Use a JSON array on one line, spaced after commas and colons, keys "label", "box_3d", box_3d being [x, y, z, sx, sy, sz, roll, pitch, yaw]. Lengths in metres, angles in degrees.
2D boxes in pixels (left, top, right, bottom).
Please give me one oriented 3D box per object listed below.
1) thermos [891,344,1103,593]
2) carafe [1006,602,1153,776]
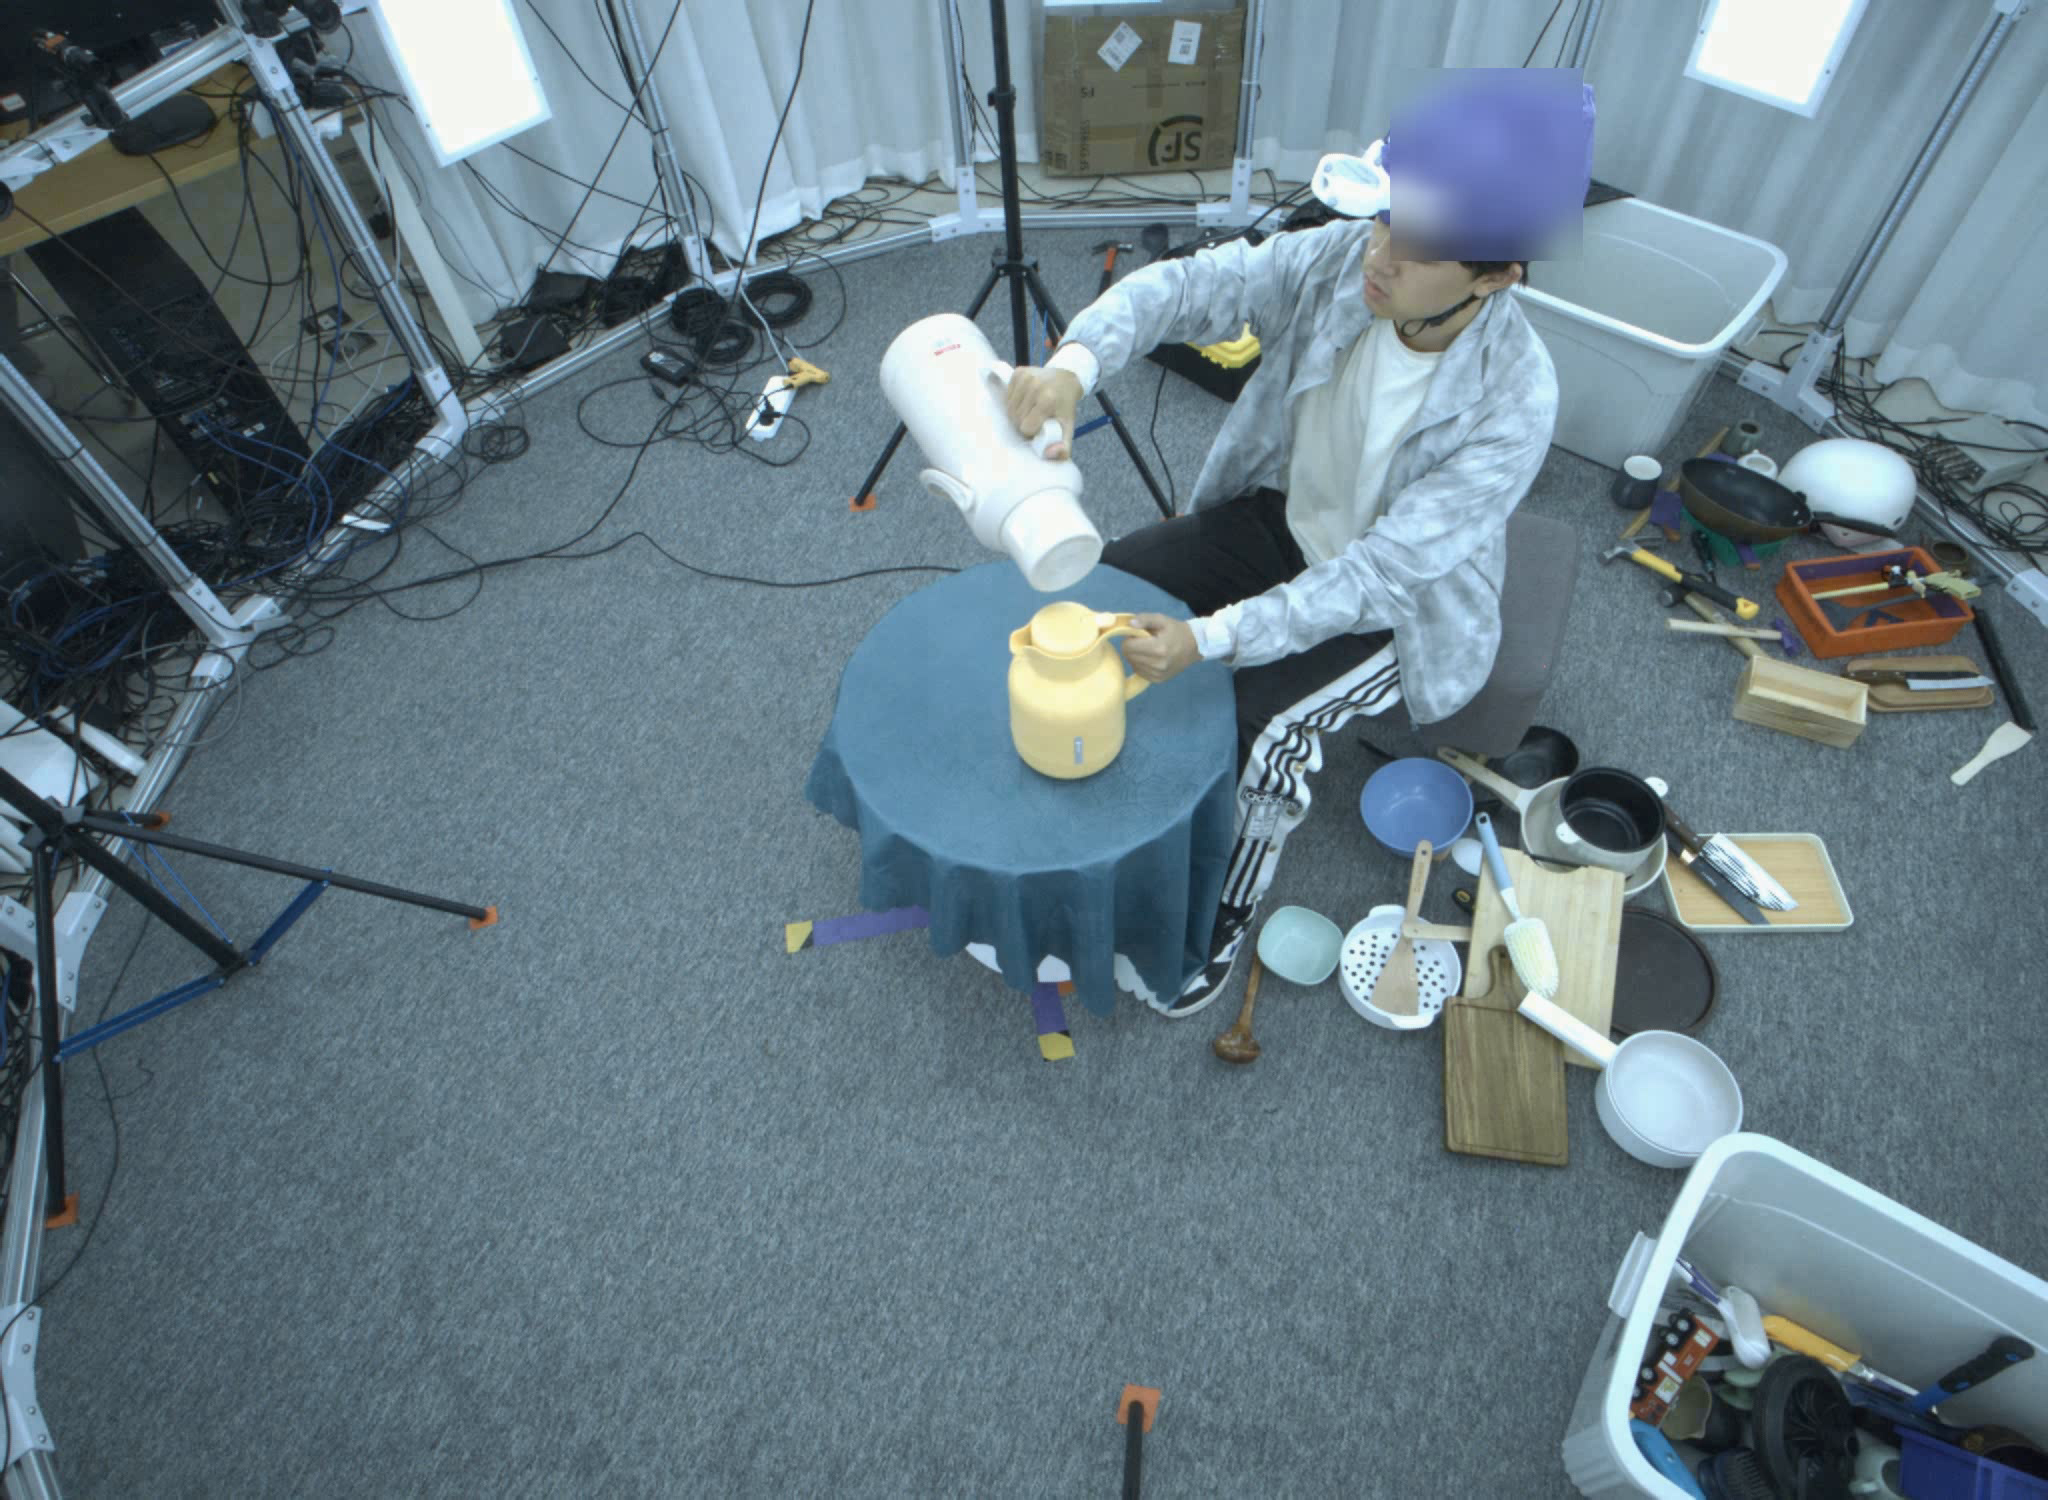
[{"label": "thermos", "box_3d": [-0.032, -0.394, 1.589, 0.178, 0.207, 0.400, -13, 60, -31]}, {"label": "carafe", "box_3d": [0.077, -0.091, 1.691, 0.203, 0.263, 0.161, -11, 57, -3]}]
